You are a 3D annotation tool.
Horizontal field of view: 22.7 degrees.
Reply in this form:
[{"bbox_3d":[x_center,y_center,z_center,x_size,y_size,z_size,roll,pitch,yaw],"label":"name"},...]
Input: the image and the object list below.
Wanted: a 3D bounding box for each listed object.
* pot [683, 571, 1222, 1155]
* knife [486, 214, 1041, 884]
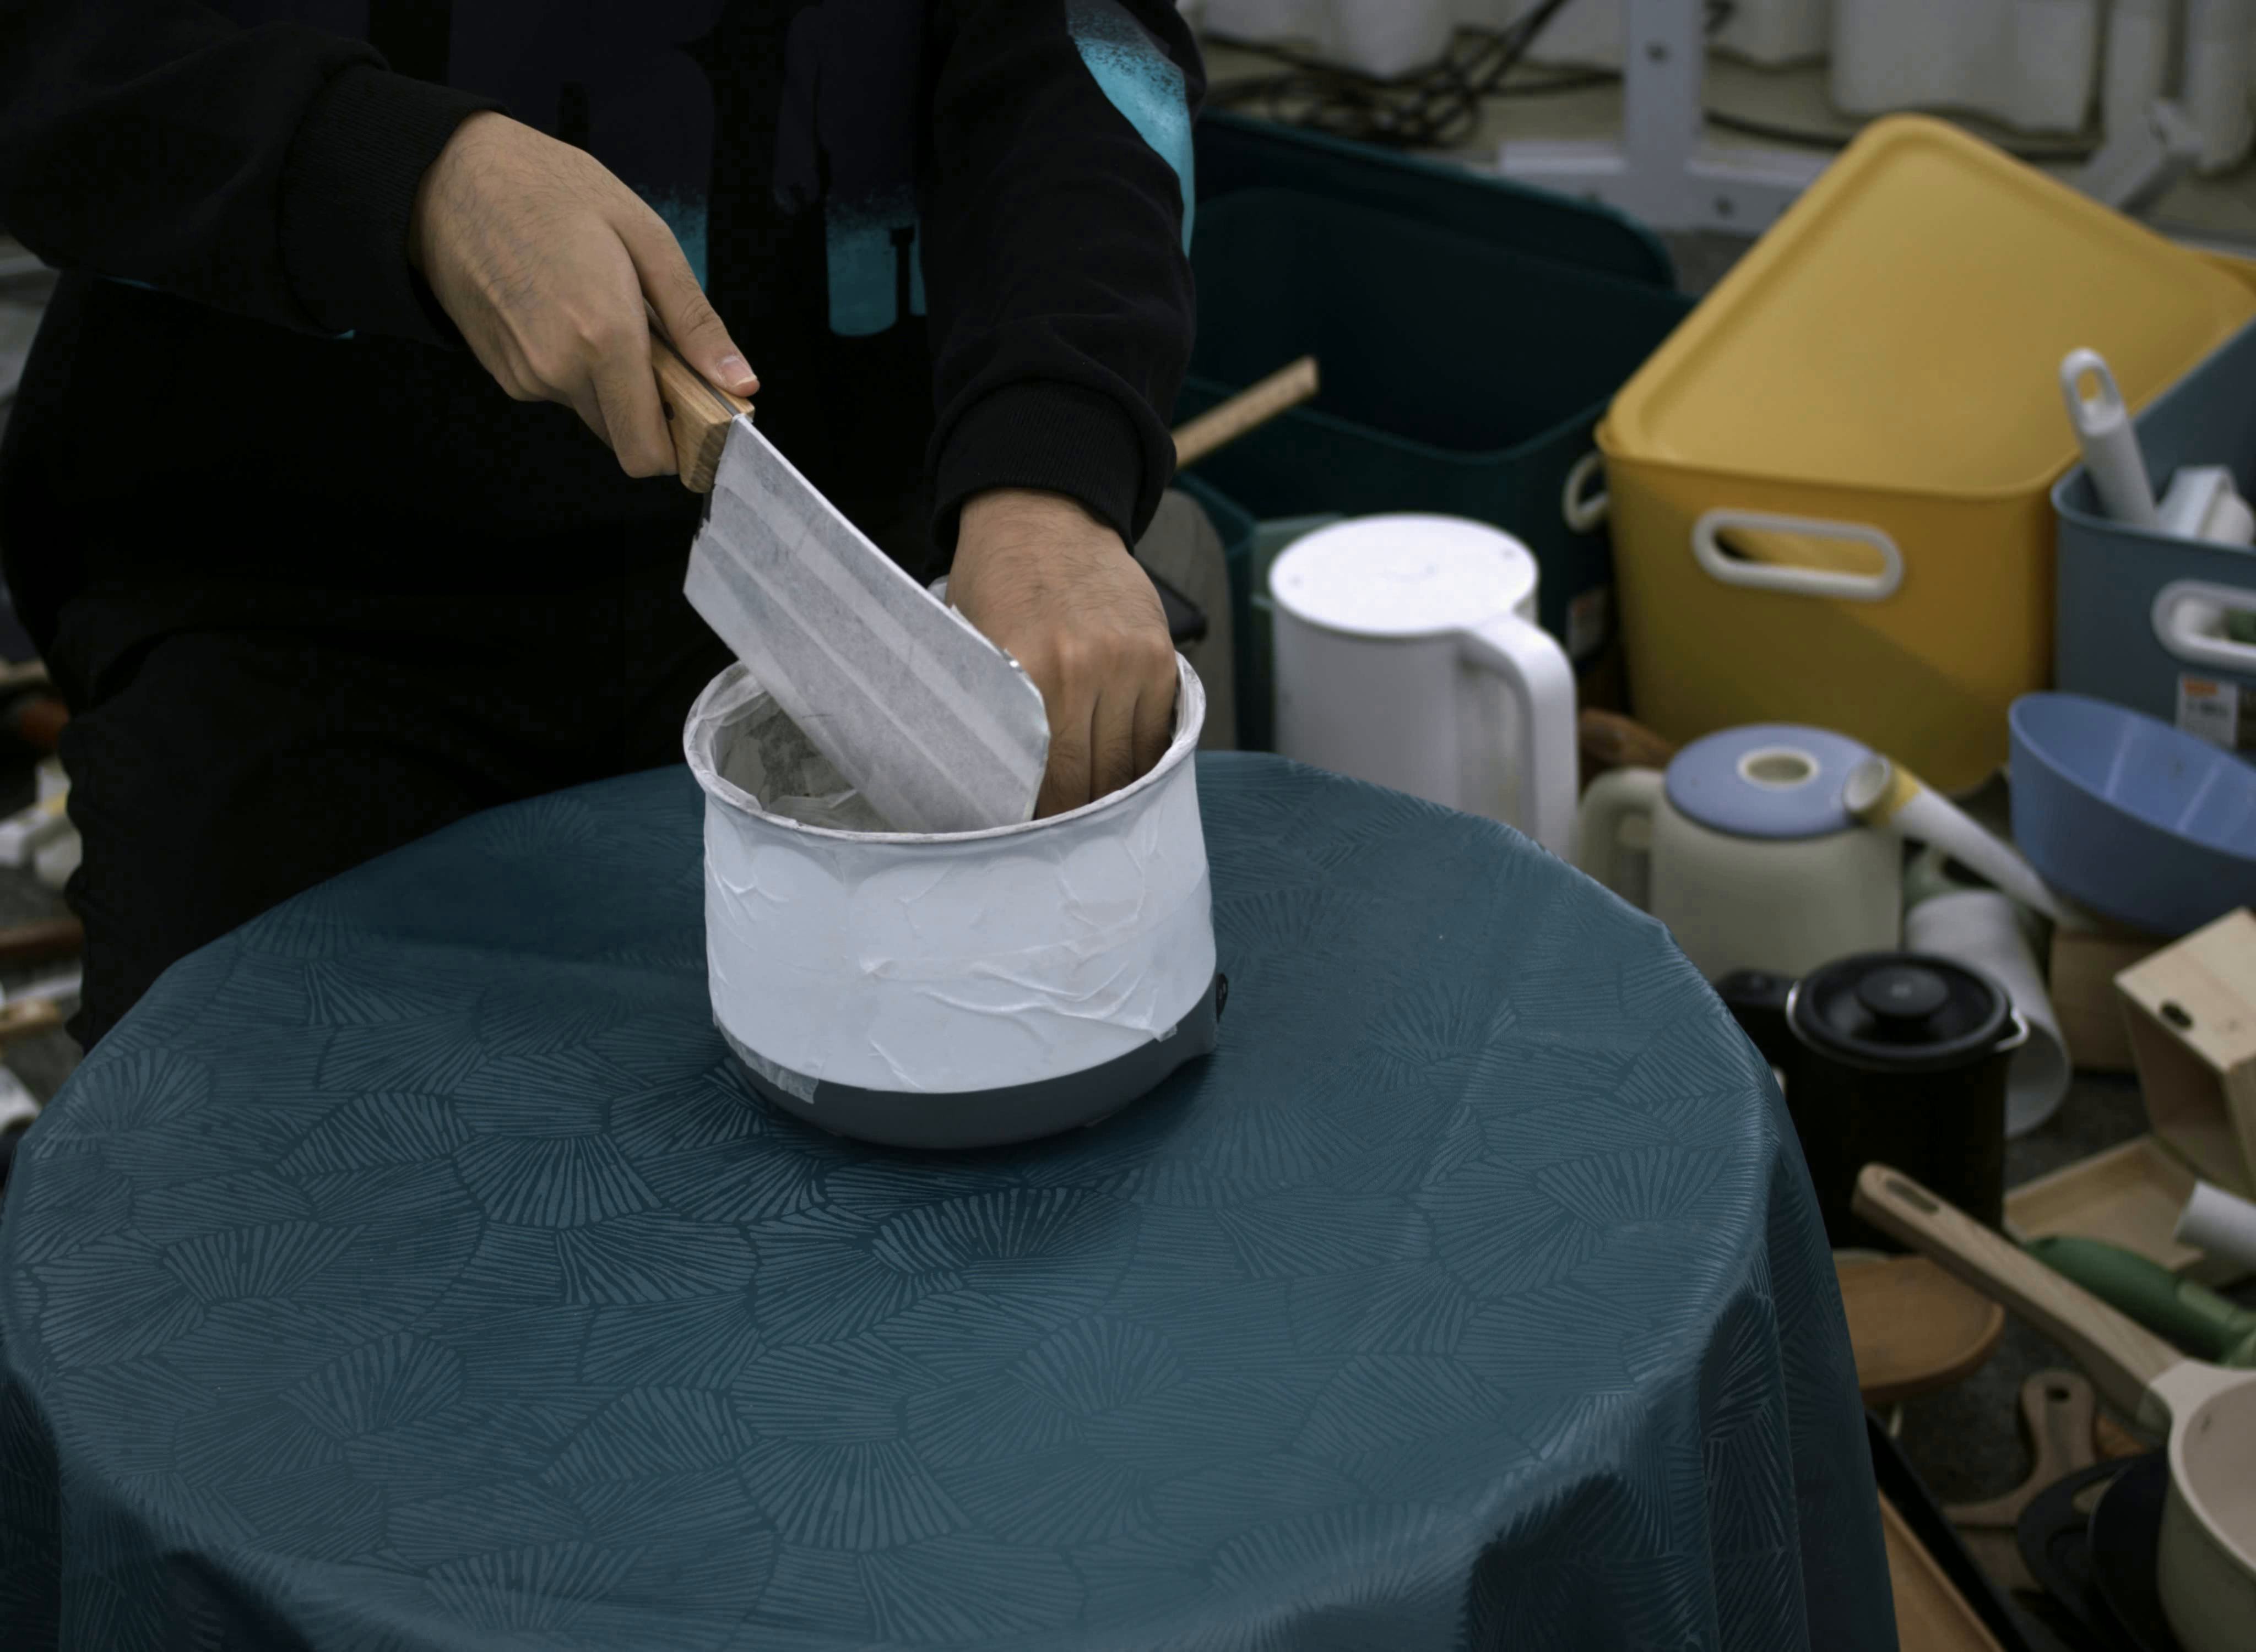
[{"bbox_3d":[-0.059,0.006,1.945,0.178,0.135,0.237,-3,28,0],"label":"pot"},{"bbox_3d":[-0.124,-0.099,1.900,0.022,0.112,0.318,-19,55,-37],"label":"knife"}]
